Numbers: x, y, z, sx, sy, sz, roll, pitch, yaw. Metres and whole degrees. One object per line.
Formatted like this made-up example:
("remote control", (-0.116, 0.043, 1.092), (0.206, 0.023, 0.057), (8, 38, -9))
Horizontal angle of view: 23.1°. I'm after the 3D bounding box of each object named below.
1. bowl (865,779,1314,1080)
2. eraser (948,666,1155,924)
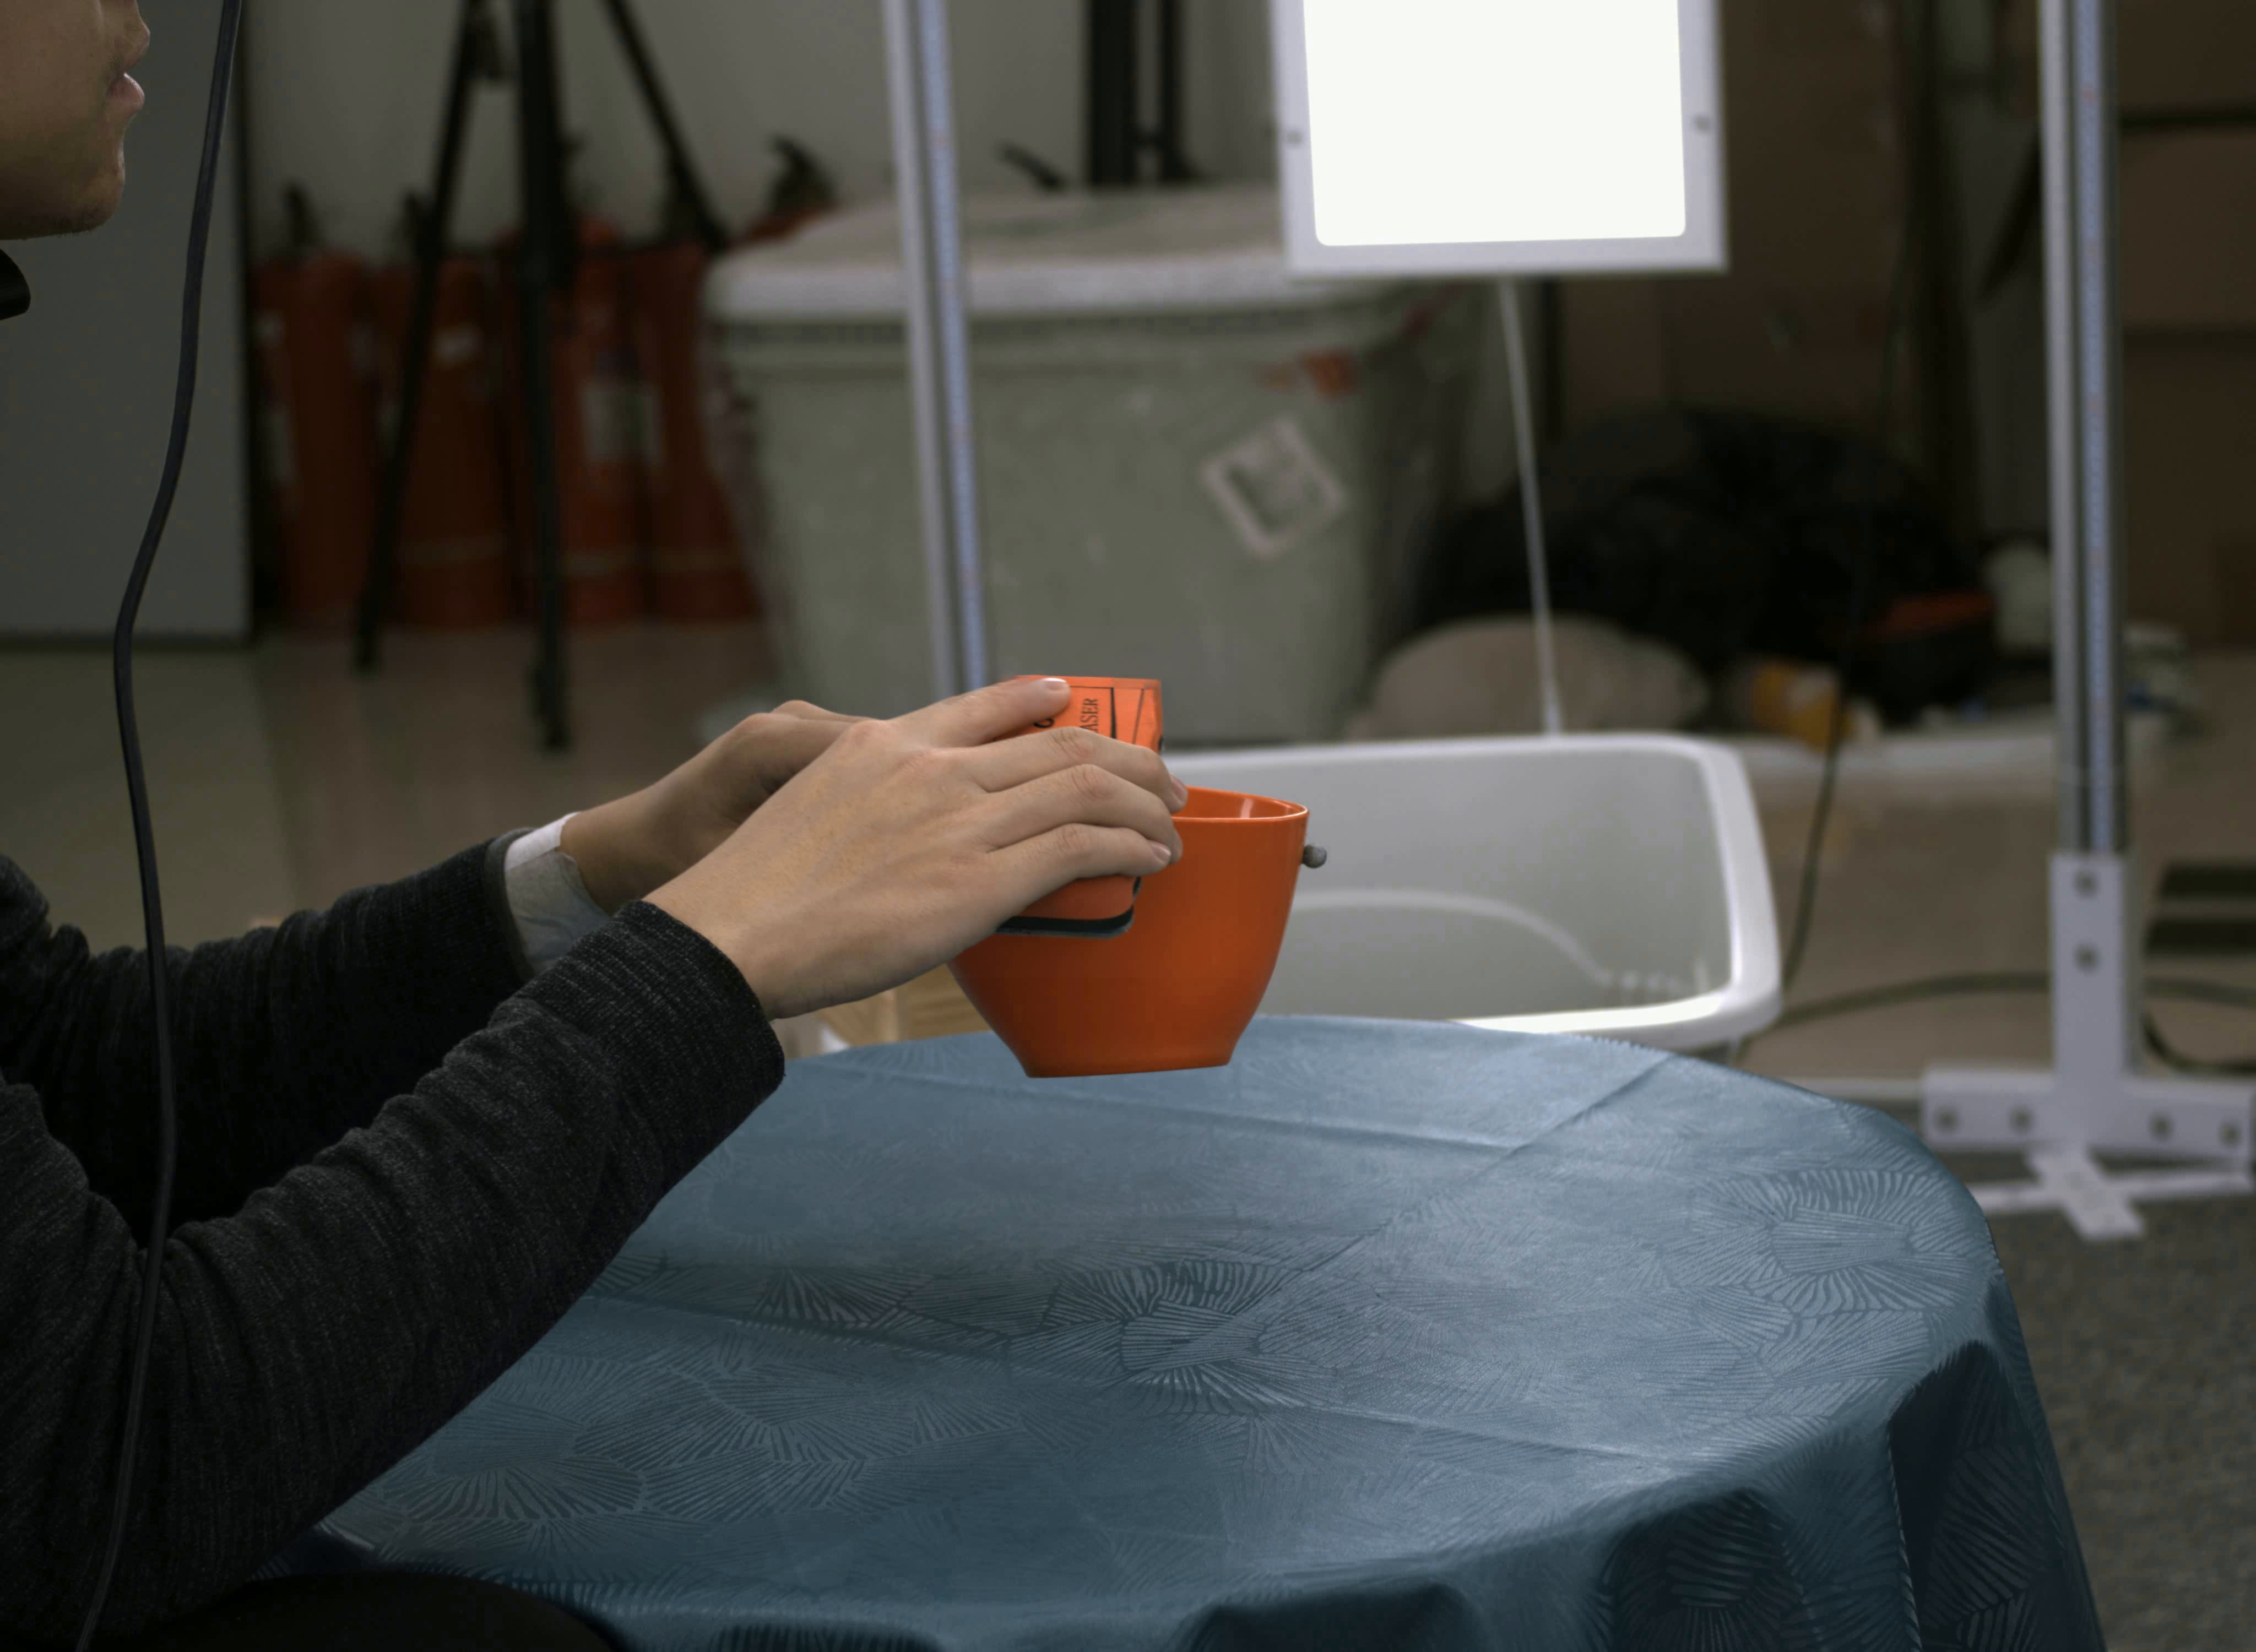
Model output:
("bowl", (-0.009, 0.030, 1.810), (0.147, 0.105, 0.148), (-4, -2, -2))
("eraser", (-0.023, -0.011, 1.719), (0.059, 0.023, 0.107), (2, 36, 5))
